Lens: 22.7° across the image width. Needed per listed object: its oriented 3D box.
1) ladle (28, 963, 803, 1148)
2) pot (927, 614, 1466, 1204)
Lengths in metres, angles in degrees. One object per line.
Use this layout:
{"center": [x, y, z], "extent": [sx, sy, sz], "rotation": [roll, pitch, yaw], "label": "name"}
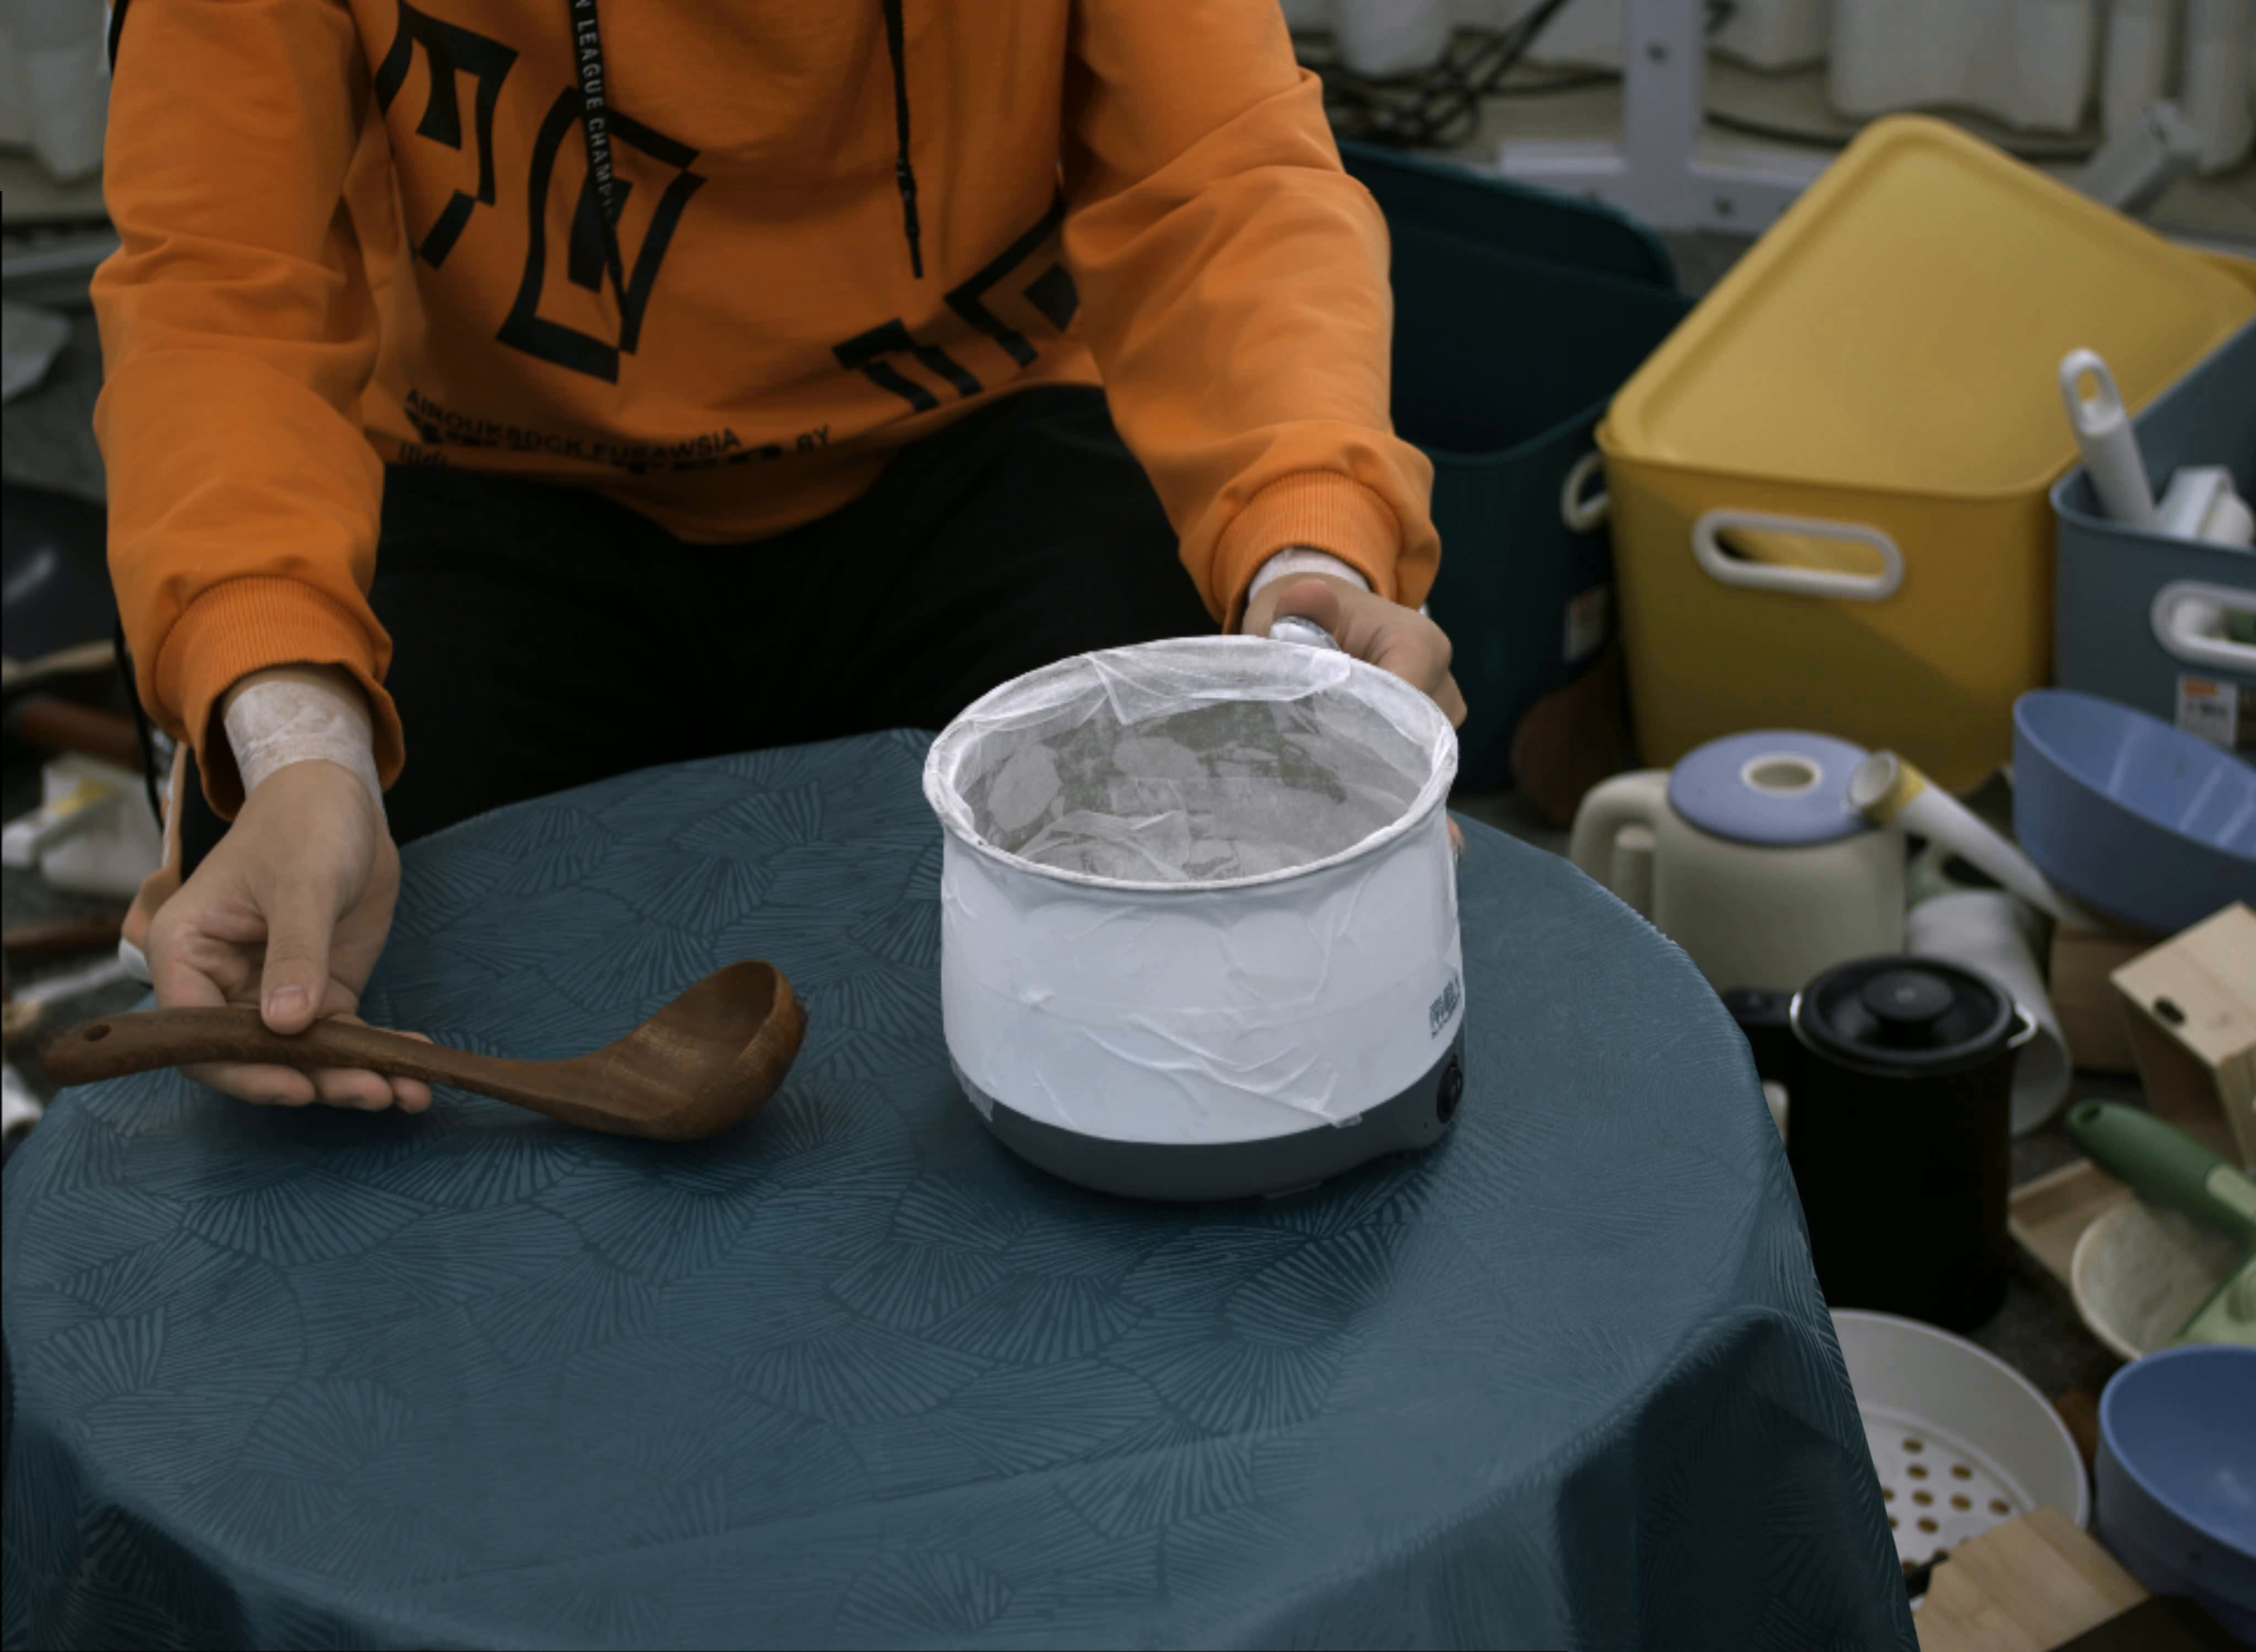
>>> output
{"center": [-0.240, 0.069, 1.896], "extent": [0.259, 0.064, 0.077], "rotation": [6, 25, -3], "label": "ladle"}
{"center": [0.034, 0.020, 1.906], "extent": [0.177, 0.135, 0.238], "rotation": [7, 29, 19], "label": "pot"}
